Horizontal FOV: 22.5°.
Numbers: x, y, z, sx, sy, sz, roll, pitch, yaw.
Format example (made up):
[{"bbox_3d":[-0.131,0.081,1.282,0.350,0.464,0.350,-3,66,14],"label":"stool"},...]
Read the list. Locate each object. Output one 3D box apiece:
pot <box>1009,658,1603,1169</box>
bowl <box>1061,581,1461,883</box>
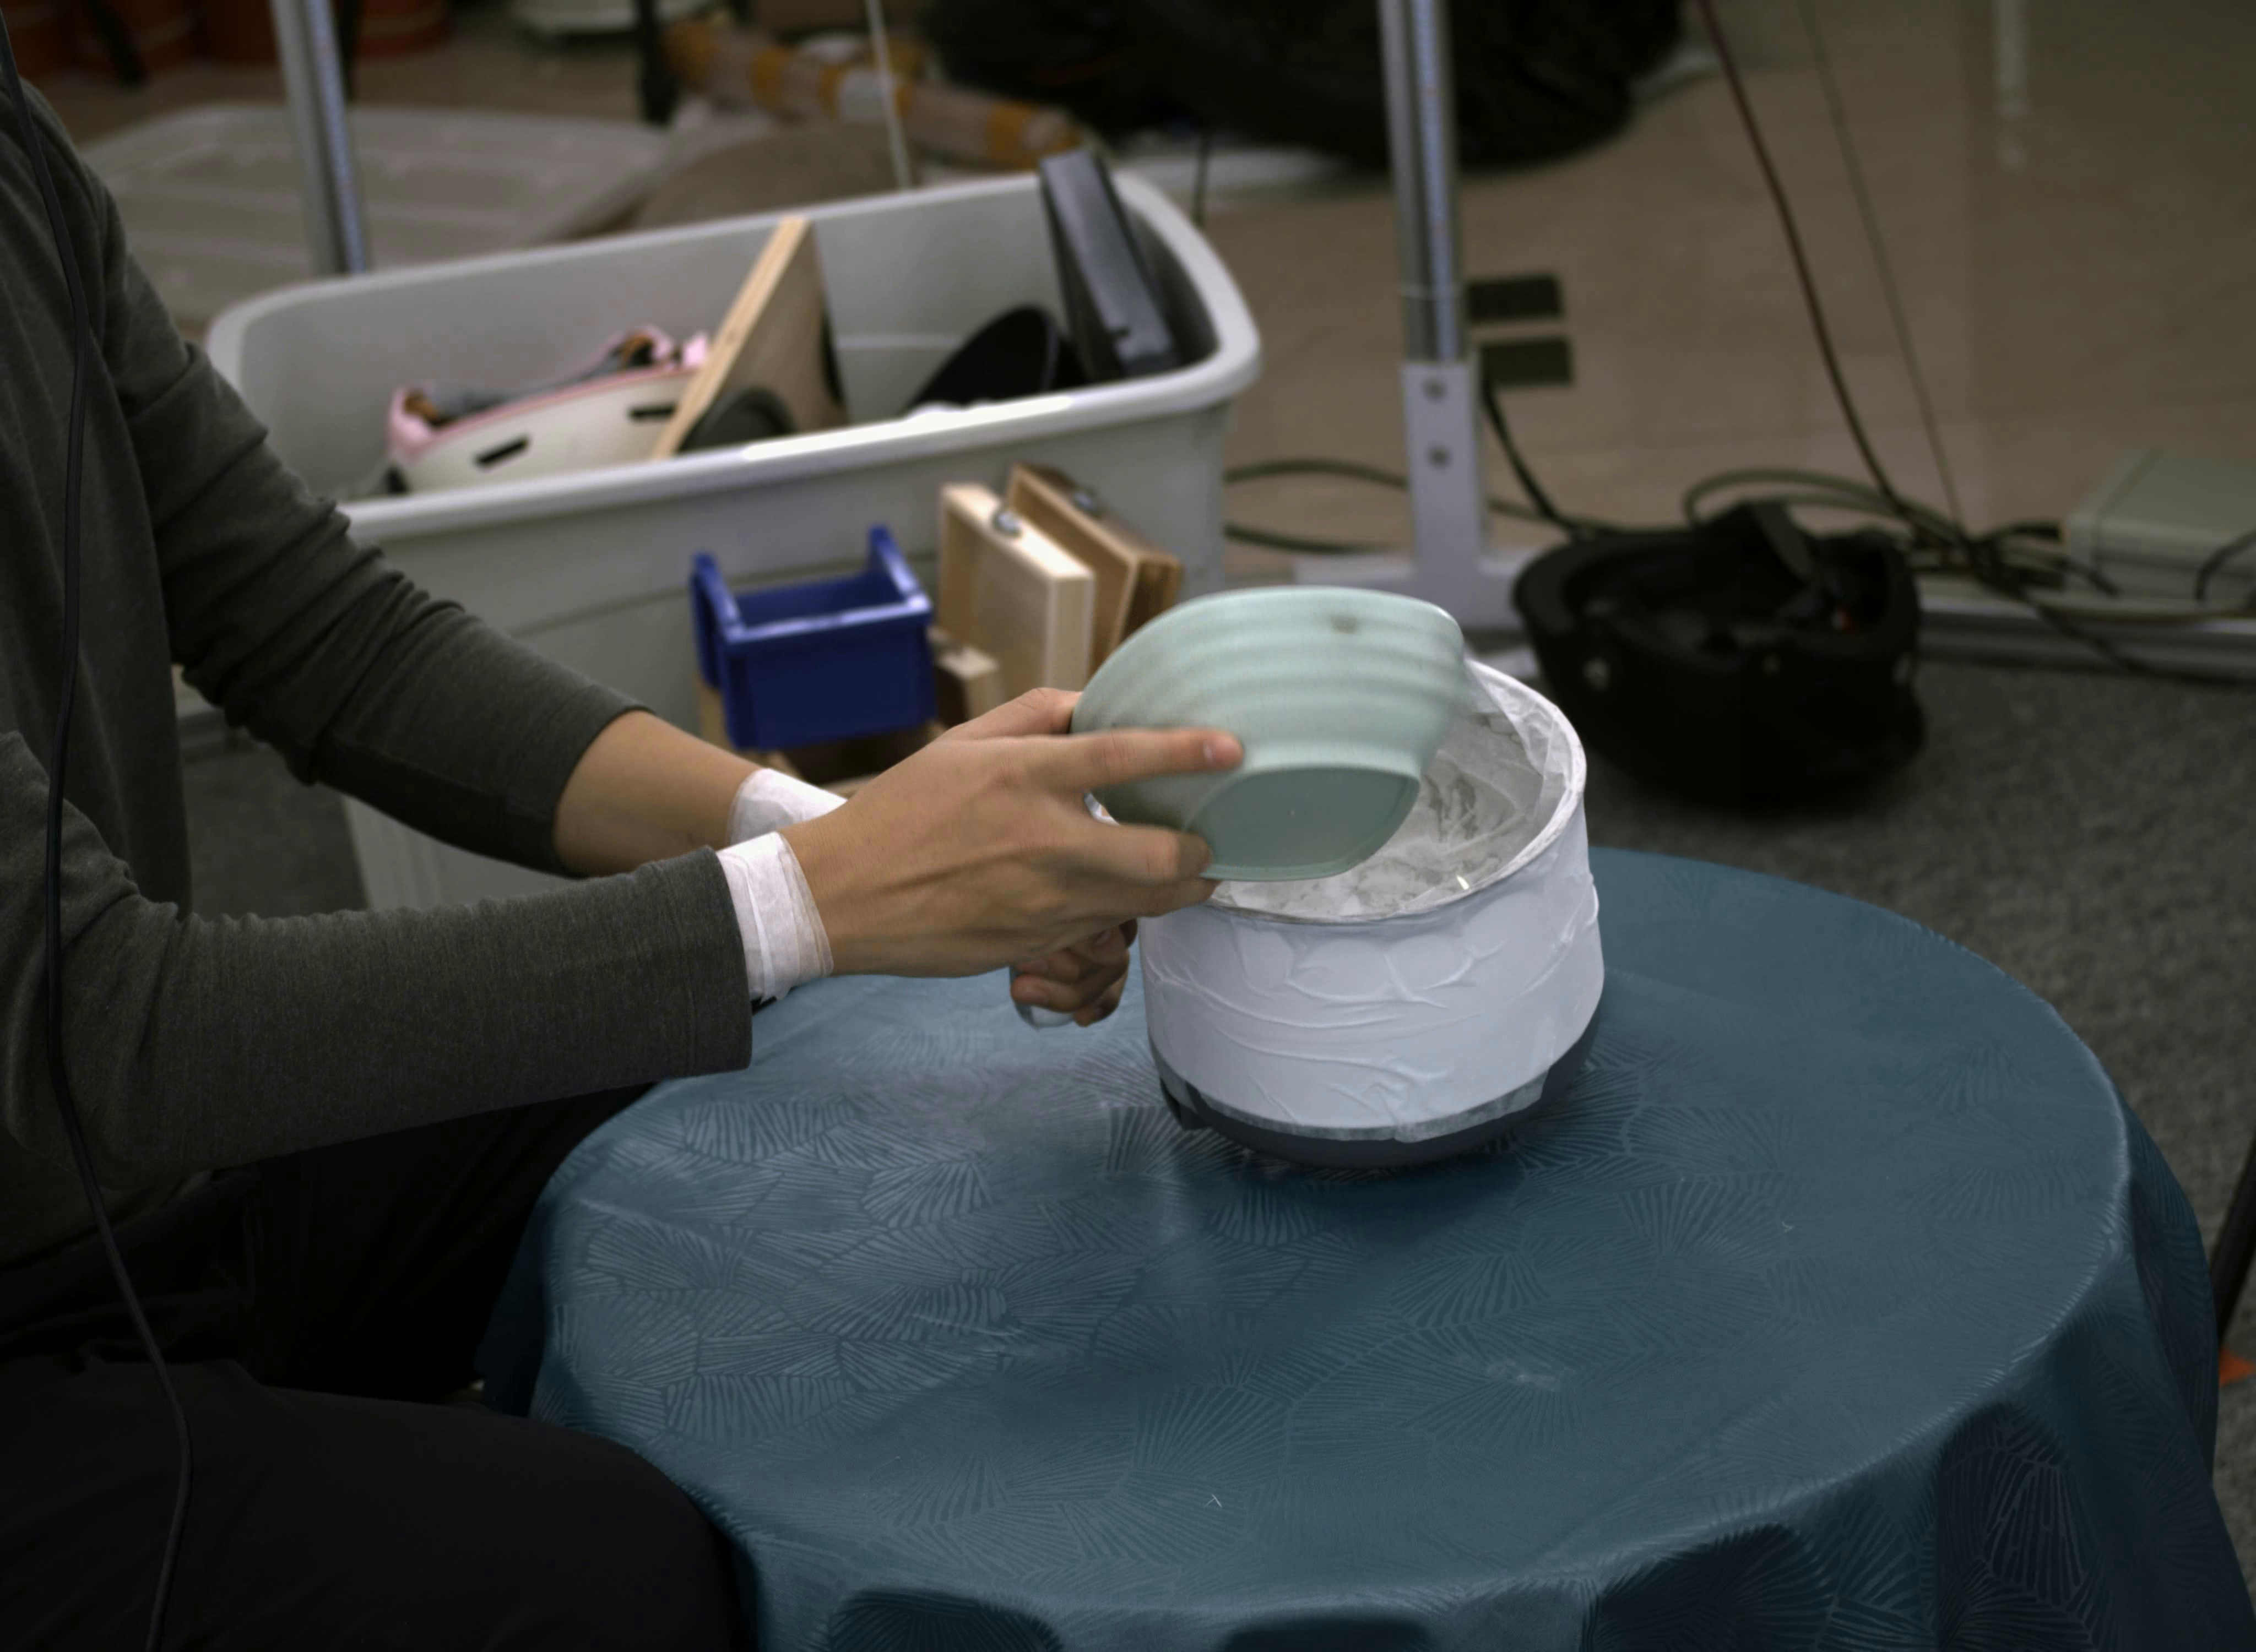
[{"bbox_3d":[0.065,0.034,2.170,0.233,0.139,0.176,2,36,13],"label":"pot"},{"bbox_3d":[0.051,-0.026,2.042,0.151,0.154,0.058,-7,60,-1],"label":"bowl"}]
